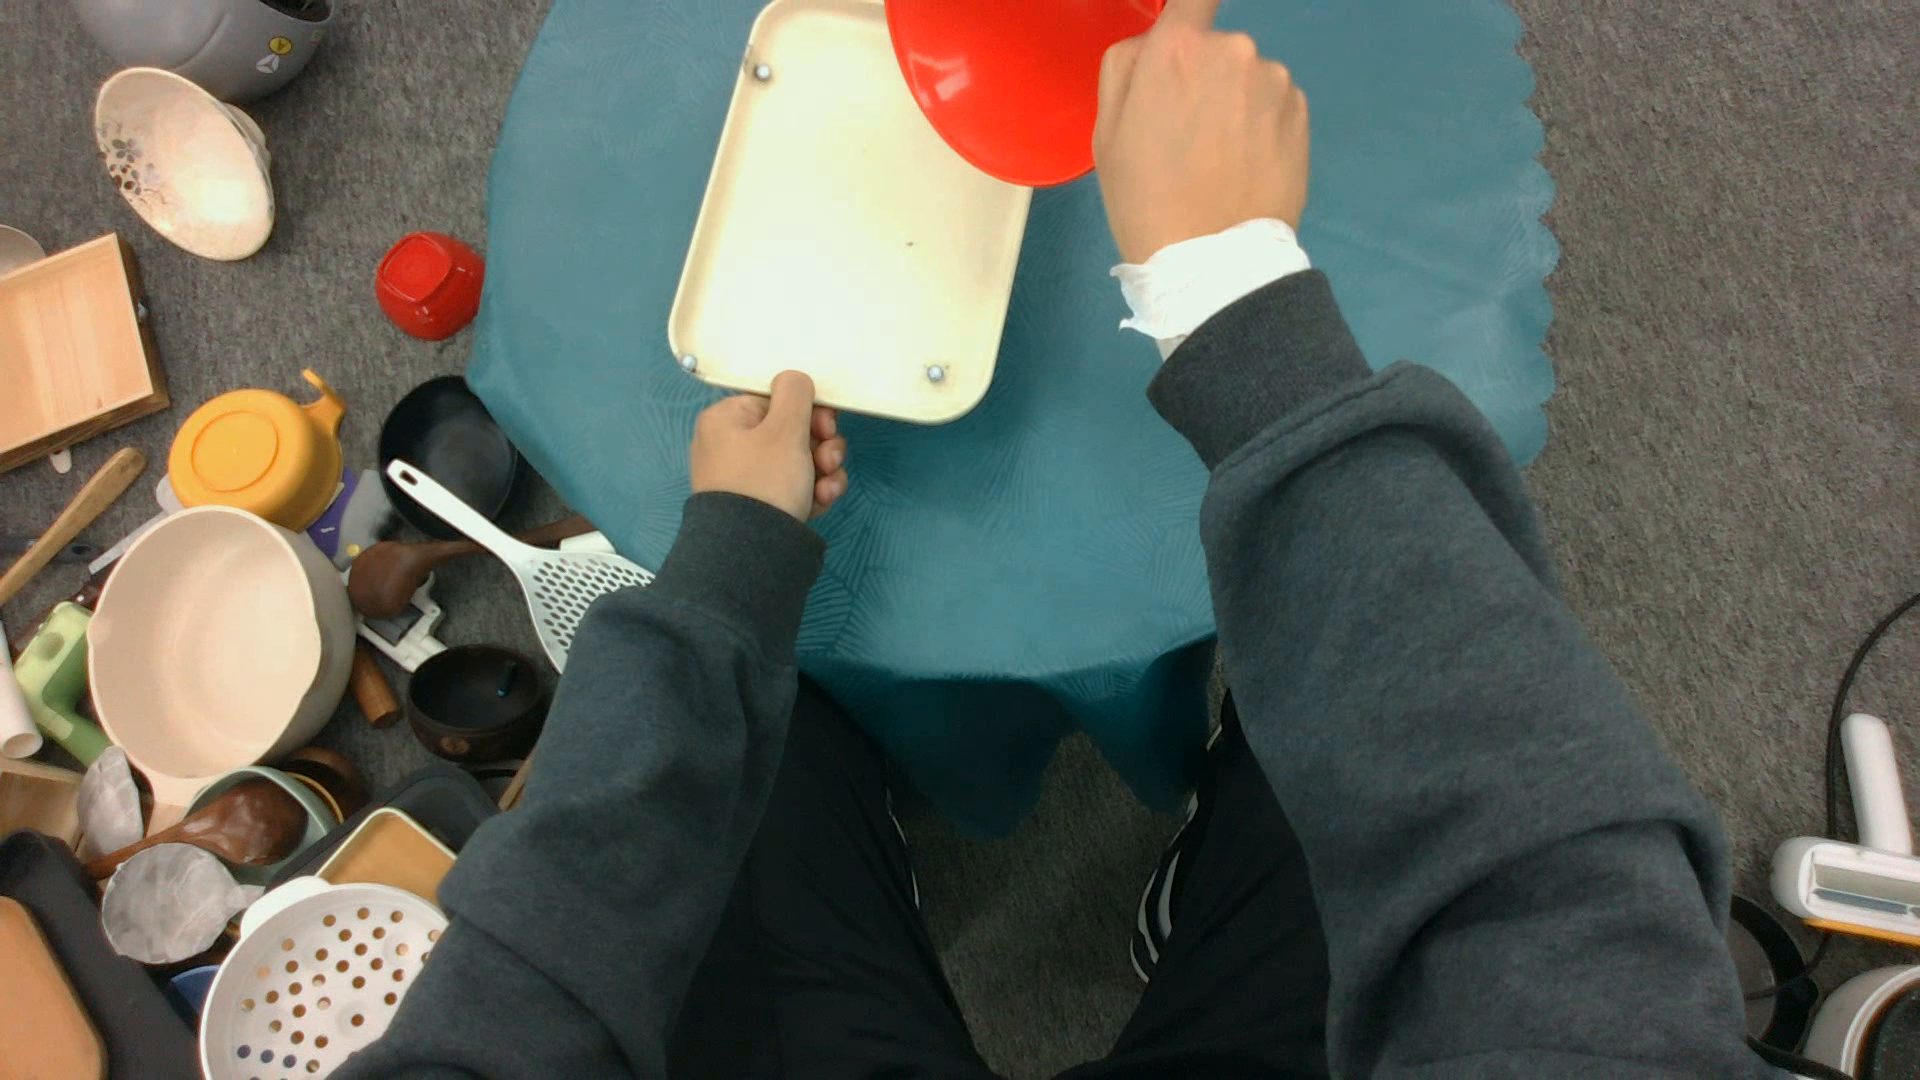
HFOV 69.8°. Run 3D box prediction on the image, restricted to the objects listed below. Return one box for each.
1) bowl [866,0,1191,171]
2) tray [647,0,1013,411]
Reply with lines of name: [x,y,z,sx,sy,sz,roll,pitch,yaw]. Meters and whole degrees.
bowl: [0.042,-0.249,0.604,0.105,0.147,0.148,-32,73,-29]
tray: [-0.060,-0.186,0.731,0.171,0.017,0.240,11,73,3]
